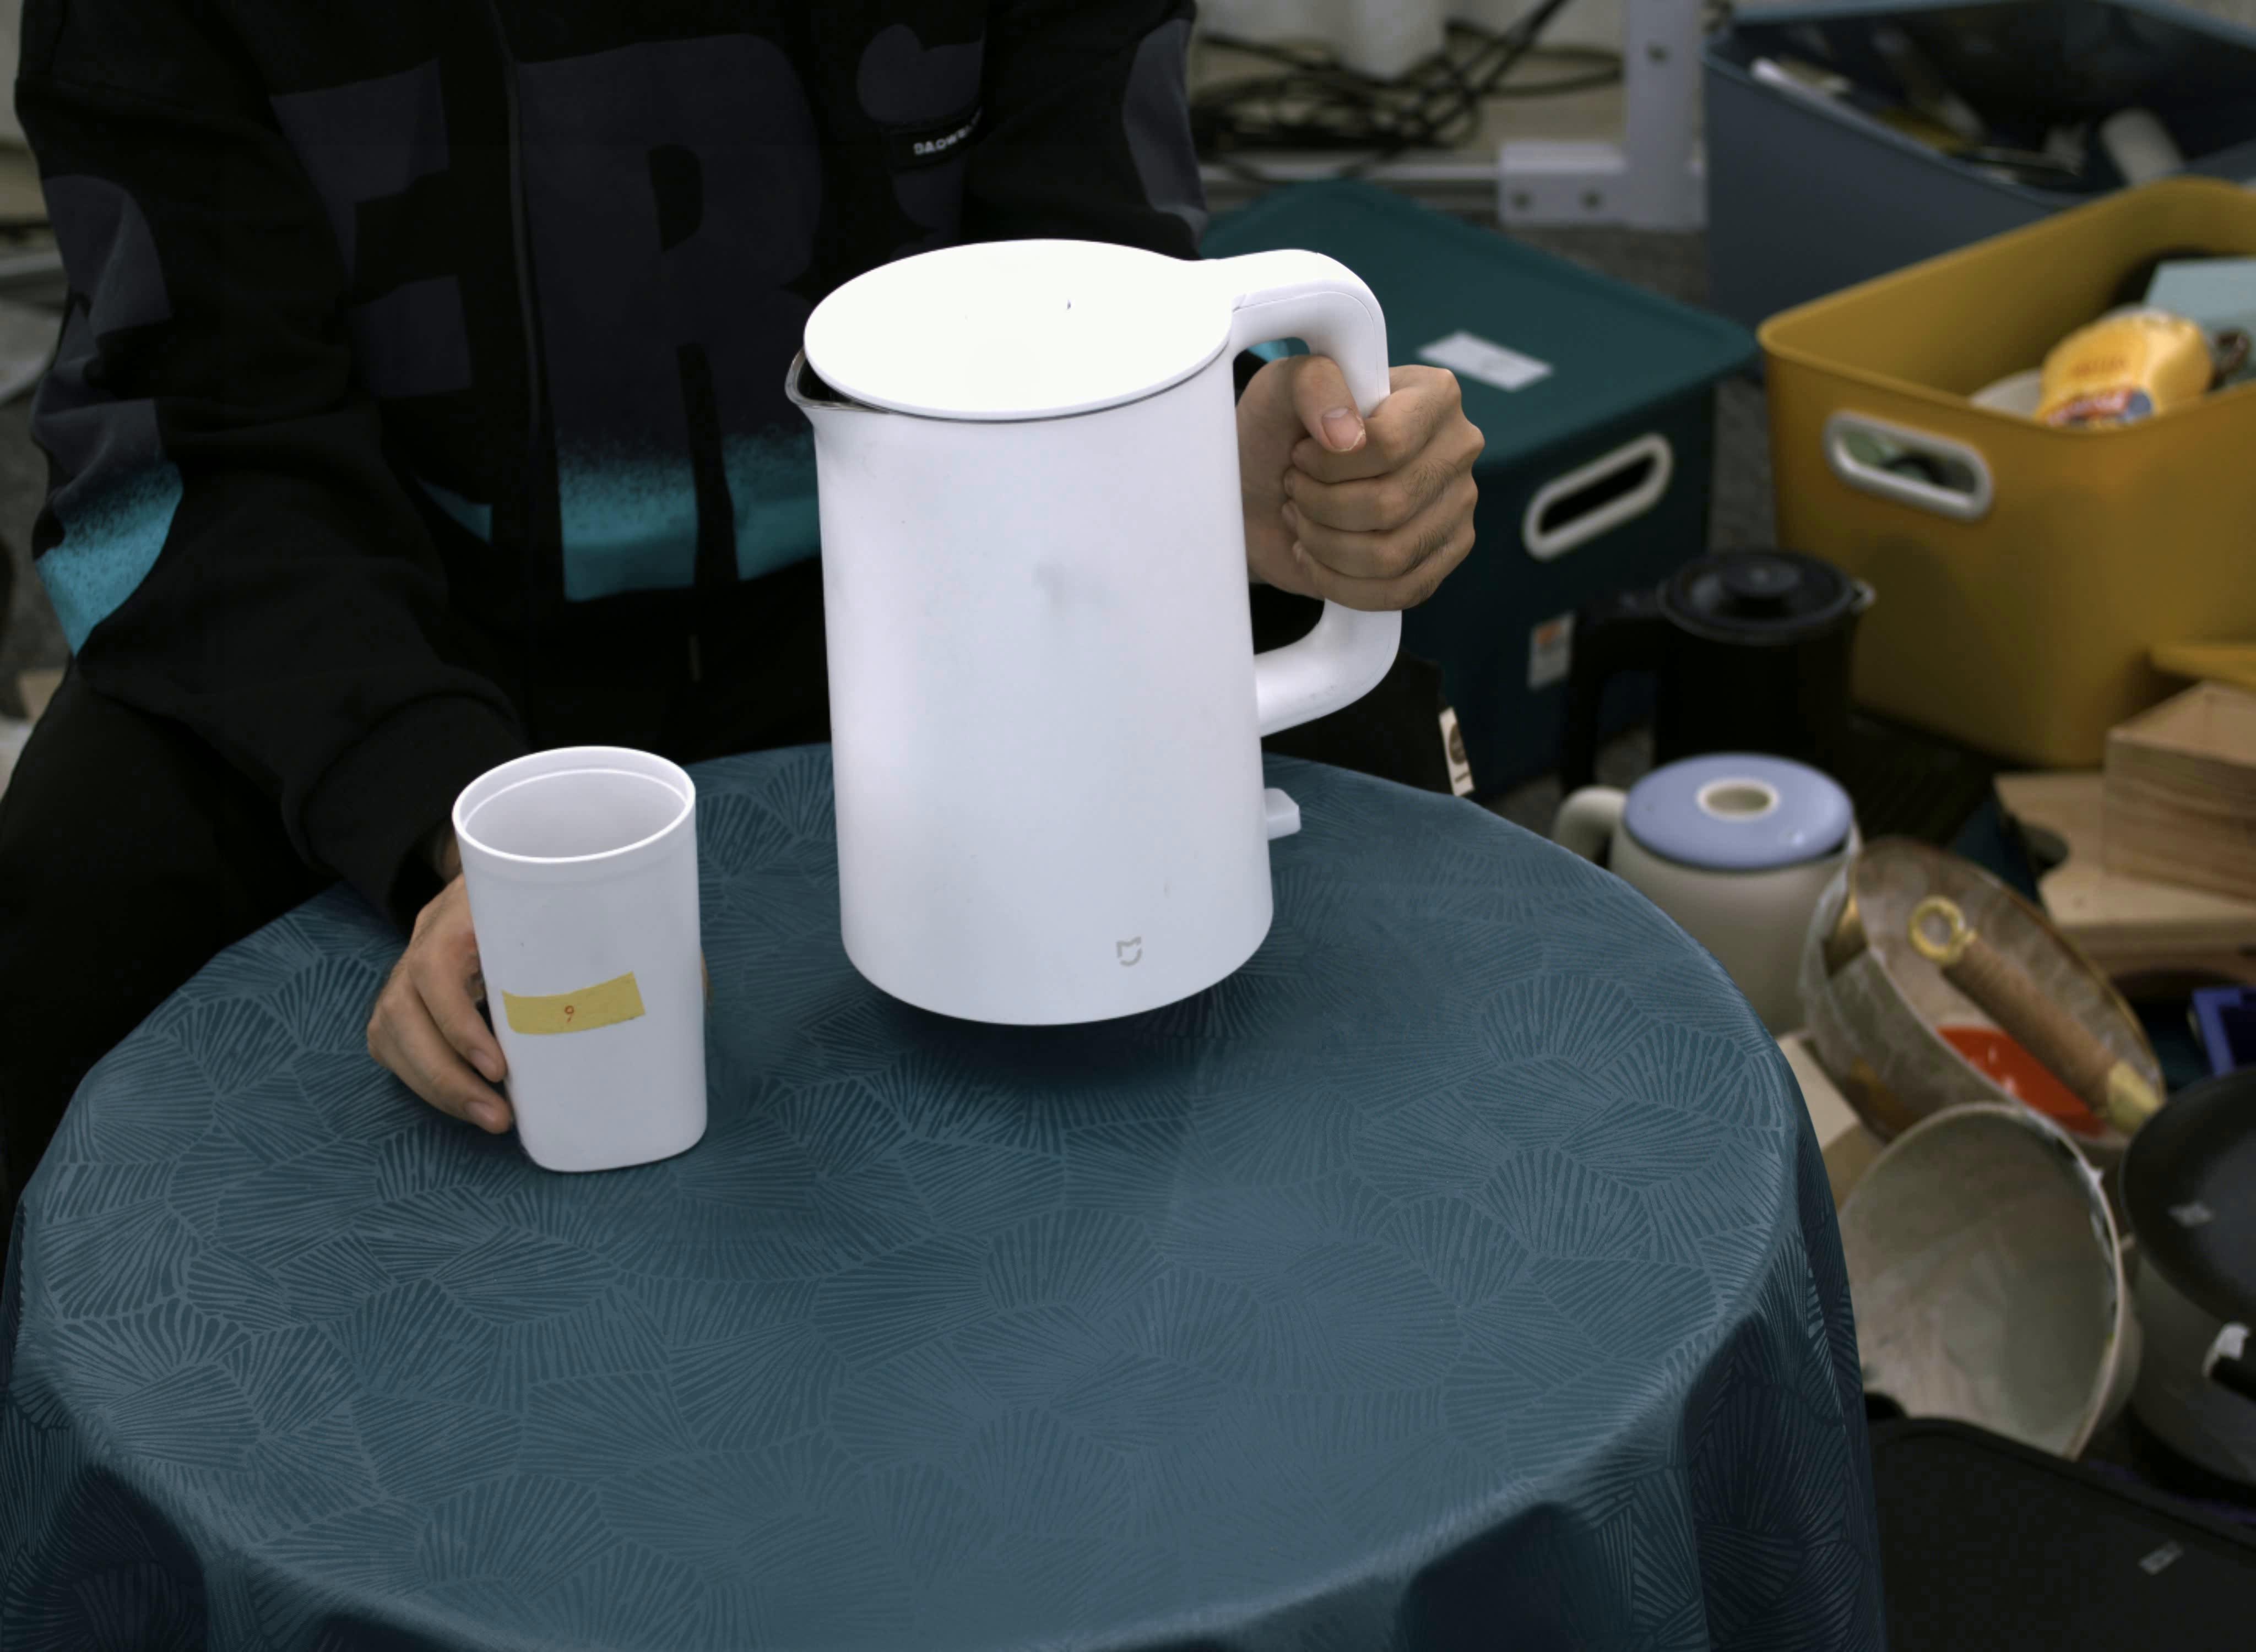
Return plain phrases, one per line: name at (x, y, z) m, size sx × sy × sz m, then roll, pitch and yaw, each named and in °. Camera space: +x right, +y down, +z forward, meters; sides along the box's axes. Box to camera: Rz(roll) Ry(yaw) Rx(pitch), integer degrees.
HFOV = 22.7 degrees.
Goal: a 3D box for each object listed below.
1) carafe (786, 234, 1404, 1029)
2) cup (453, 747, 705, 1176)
carafe at (-0.006, -0.073, 1.926) m, size 0.214 × 0.237 × 0.153 m, roll -14°, pitch 29°, yaw -19°
cup at (-0.180, 0.048, 1.888) m, size 0.081 × 0.124 × 0.083 m, roll -2°, pitch 26°, yaw 1°
